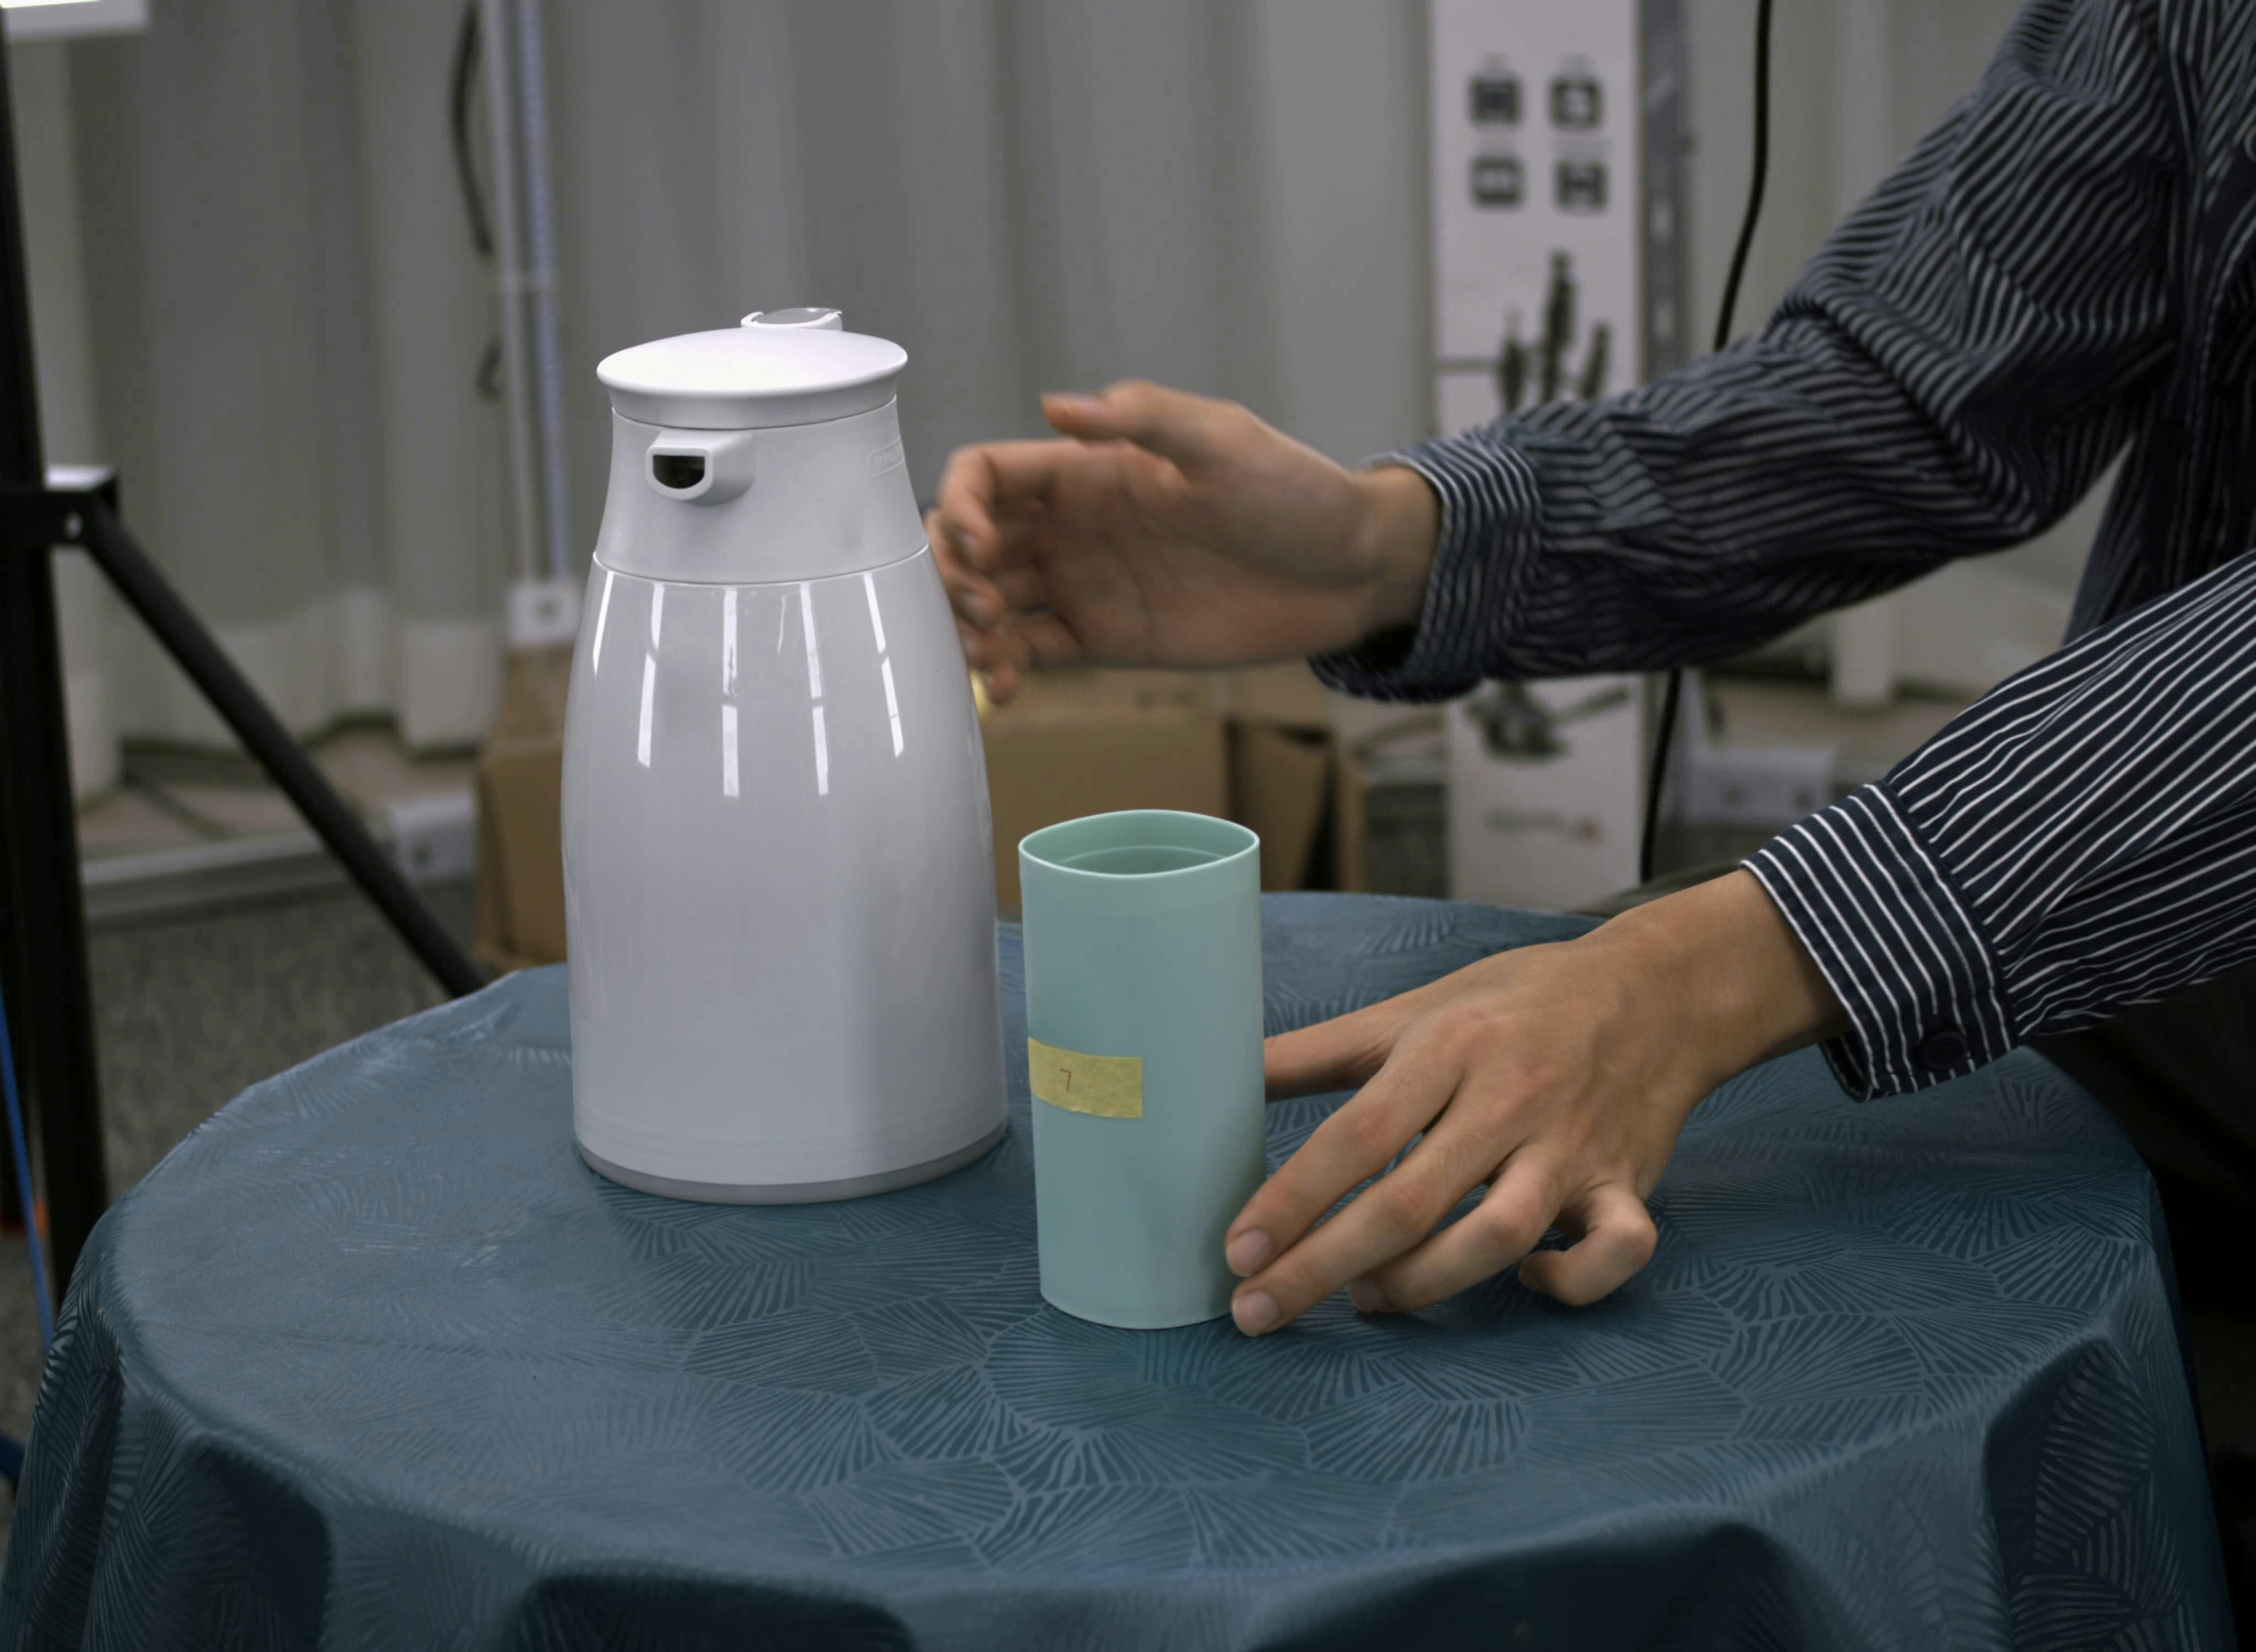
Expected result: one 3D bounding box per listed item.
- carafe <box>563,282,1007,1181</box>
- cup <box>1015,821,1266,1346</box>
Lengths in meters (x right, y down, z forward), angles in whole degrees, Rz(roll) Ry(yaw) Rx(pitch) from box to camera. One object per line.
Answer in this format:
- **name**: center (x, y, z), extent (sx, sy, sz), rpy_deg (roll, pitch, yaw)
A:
- **carafe**: center (-0.103, -0.037, 1.617), extent (0.133, 0.248, 0.166), rpy_deg (2, 15, 15)
- **cup**: center (0.006, 0.070, 1.469), extent (0.066, 0.132, 0.067), rpy_deg (-3, 16, -1)
